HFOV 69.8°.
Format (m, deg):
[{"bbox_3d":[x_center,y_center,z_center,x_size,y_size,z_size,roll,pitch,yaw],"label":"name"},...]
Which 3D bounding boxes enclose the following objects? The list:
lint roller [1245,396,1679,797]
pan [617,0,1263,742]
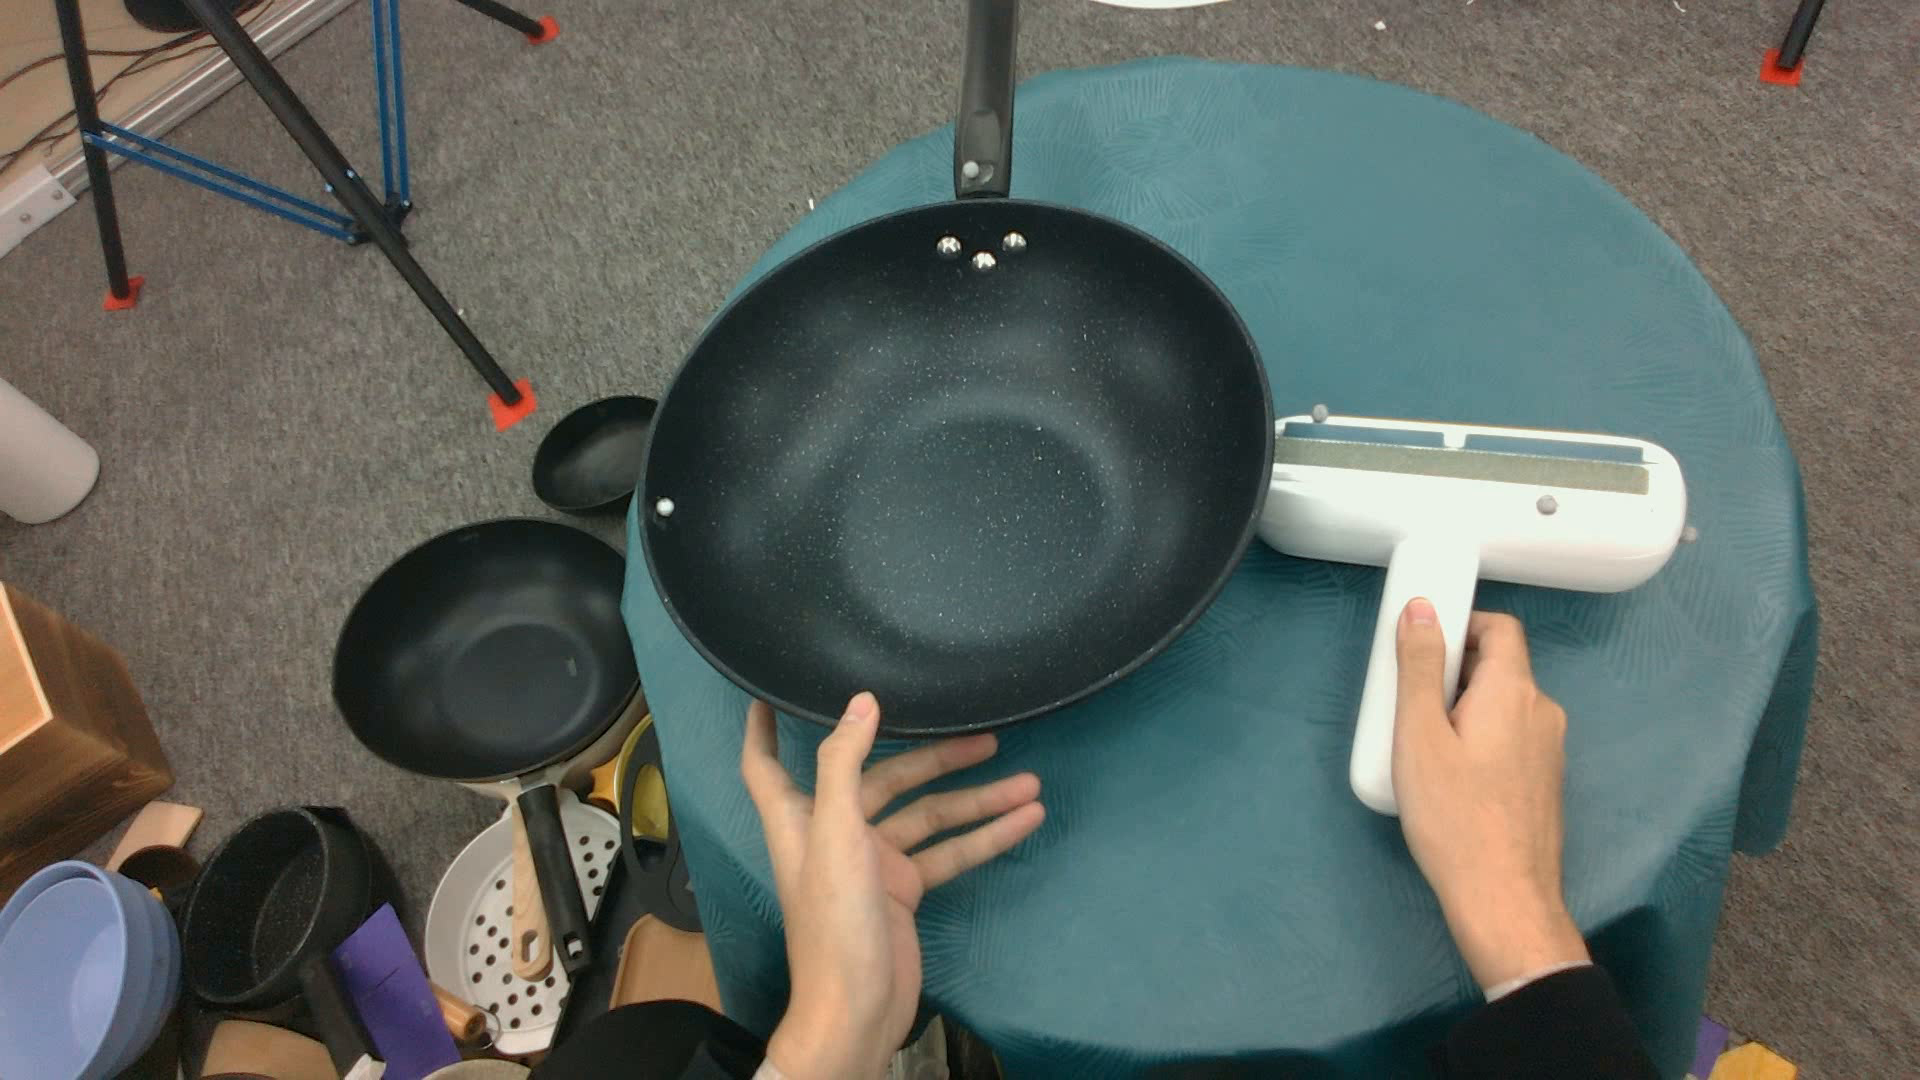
[{"bbox_3d":[0.204,0.021,0.617,0.192,0.074,0.193,13,56,24],"label":"lint roller"},{"bbox_3d":[-0.003,-0.109,0.720,0.310,0.111,0.479,0,60,9],"label":"pan"}]
